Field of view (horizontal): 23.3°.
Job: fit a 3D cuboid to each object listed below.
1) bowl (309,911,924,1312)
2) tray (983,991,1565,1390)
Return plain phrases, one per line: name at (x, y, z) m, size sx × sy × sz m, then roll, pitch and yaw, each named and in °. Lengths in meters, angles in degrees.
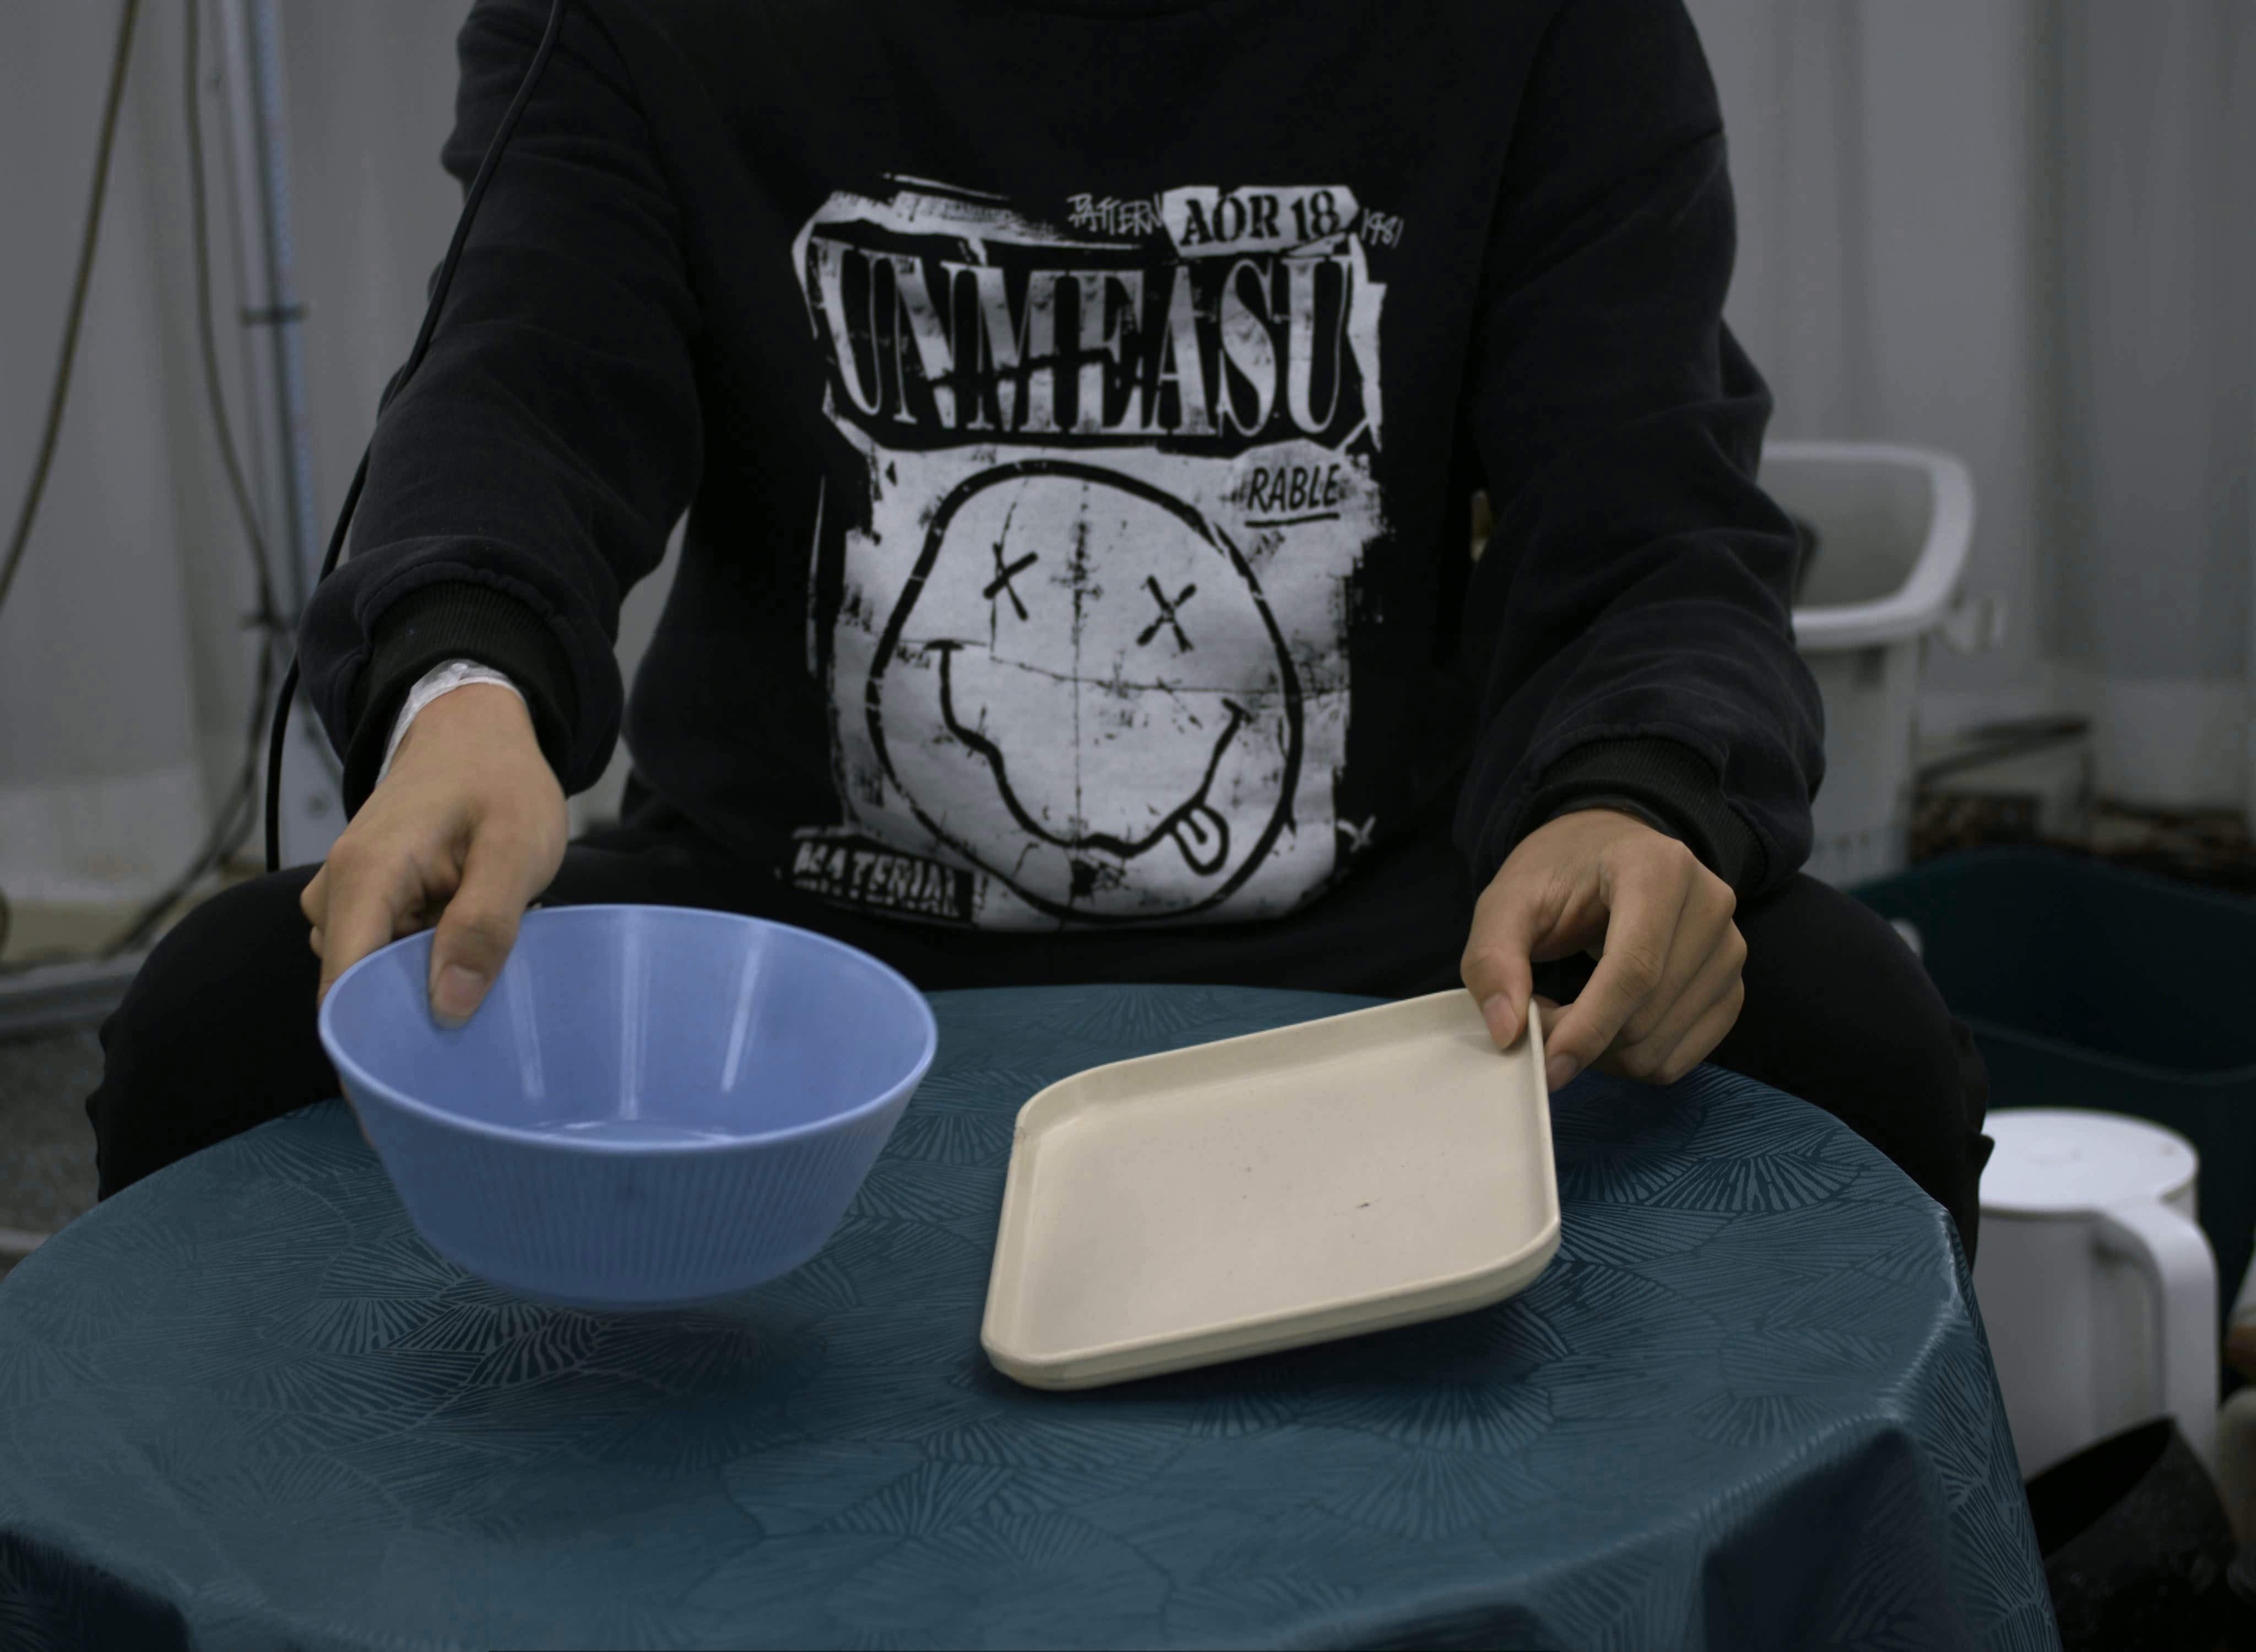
bowl at (-0.148, 0.086, 1.575) m, size 0.175 × 0.070 × 0.178 m, roll 4°, pitch 21°, yaw -2°
tray at (0.045, 0.108, 1.637) m, size 0.171 × 0.017 × 0.241 m, roll -12°, pitch 16°, yaw 6°
